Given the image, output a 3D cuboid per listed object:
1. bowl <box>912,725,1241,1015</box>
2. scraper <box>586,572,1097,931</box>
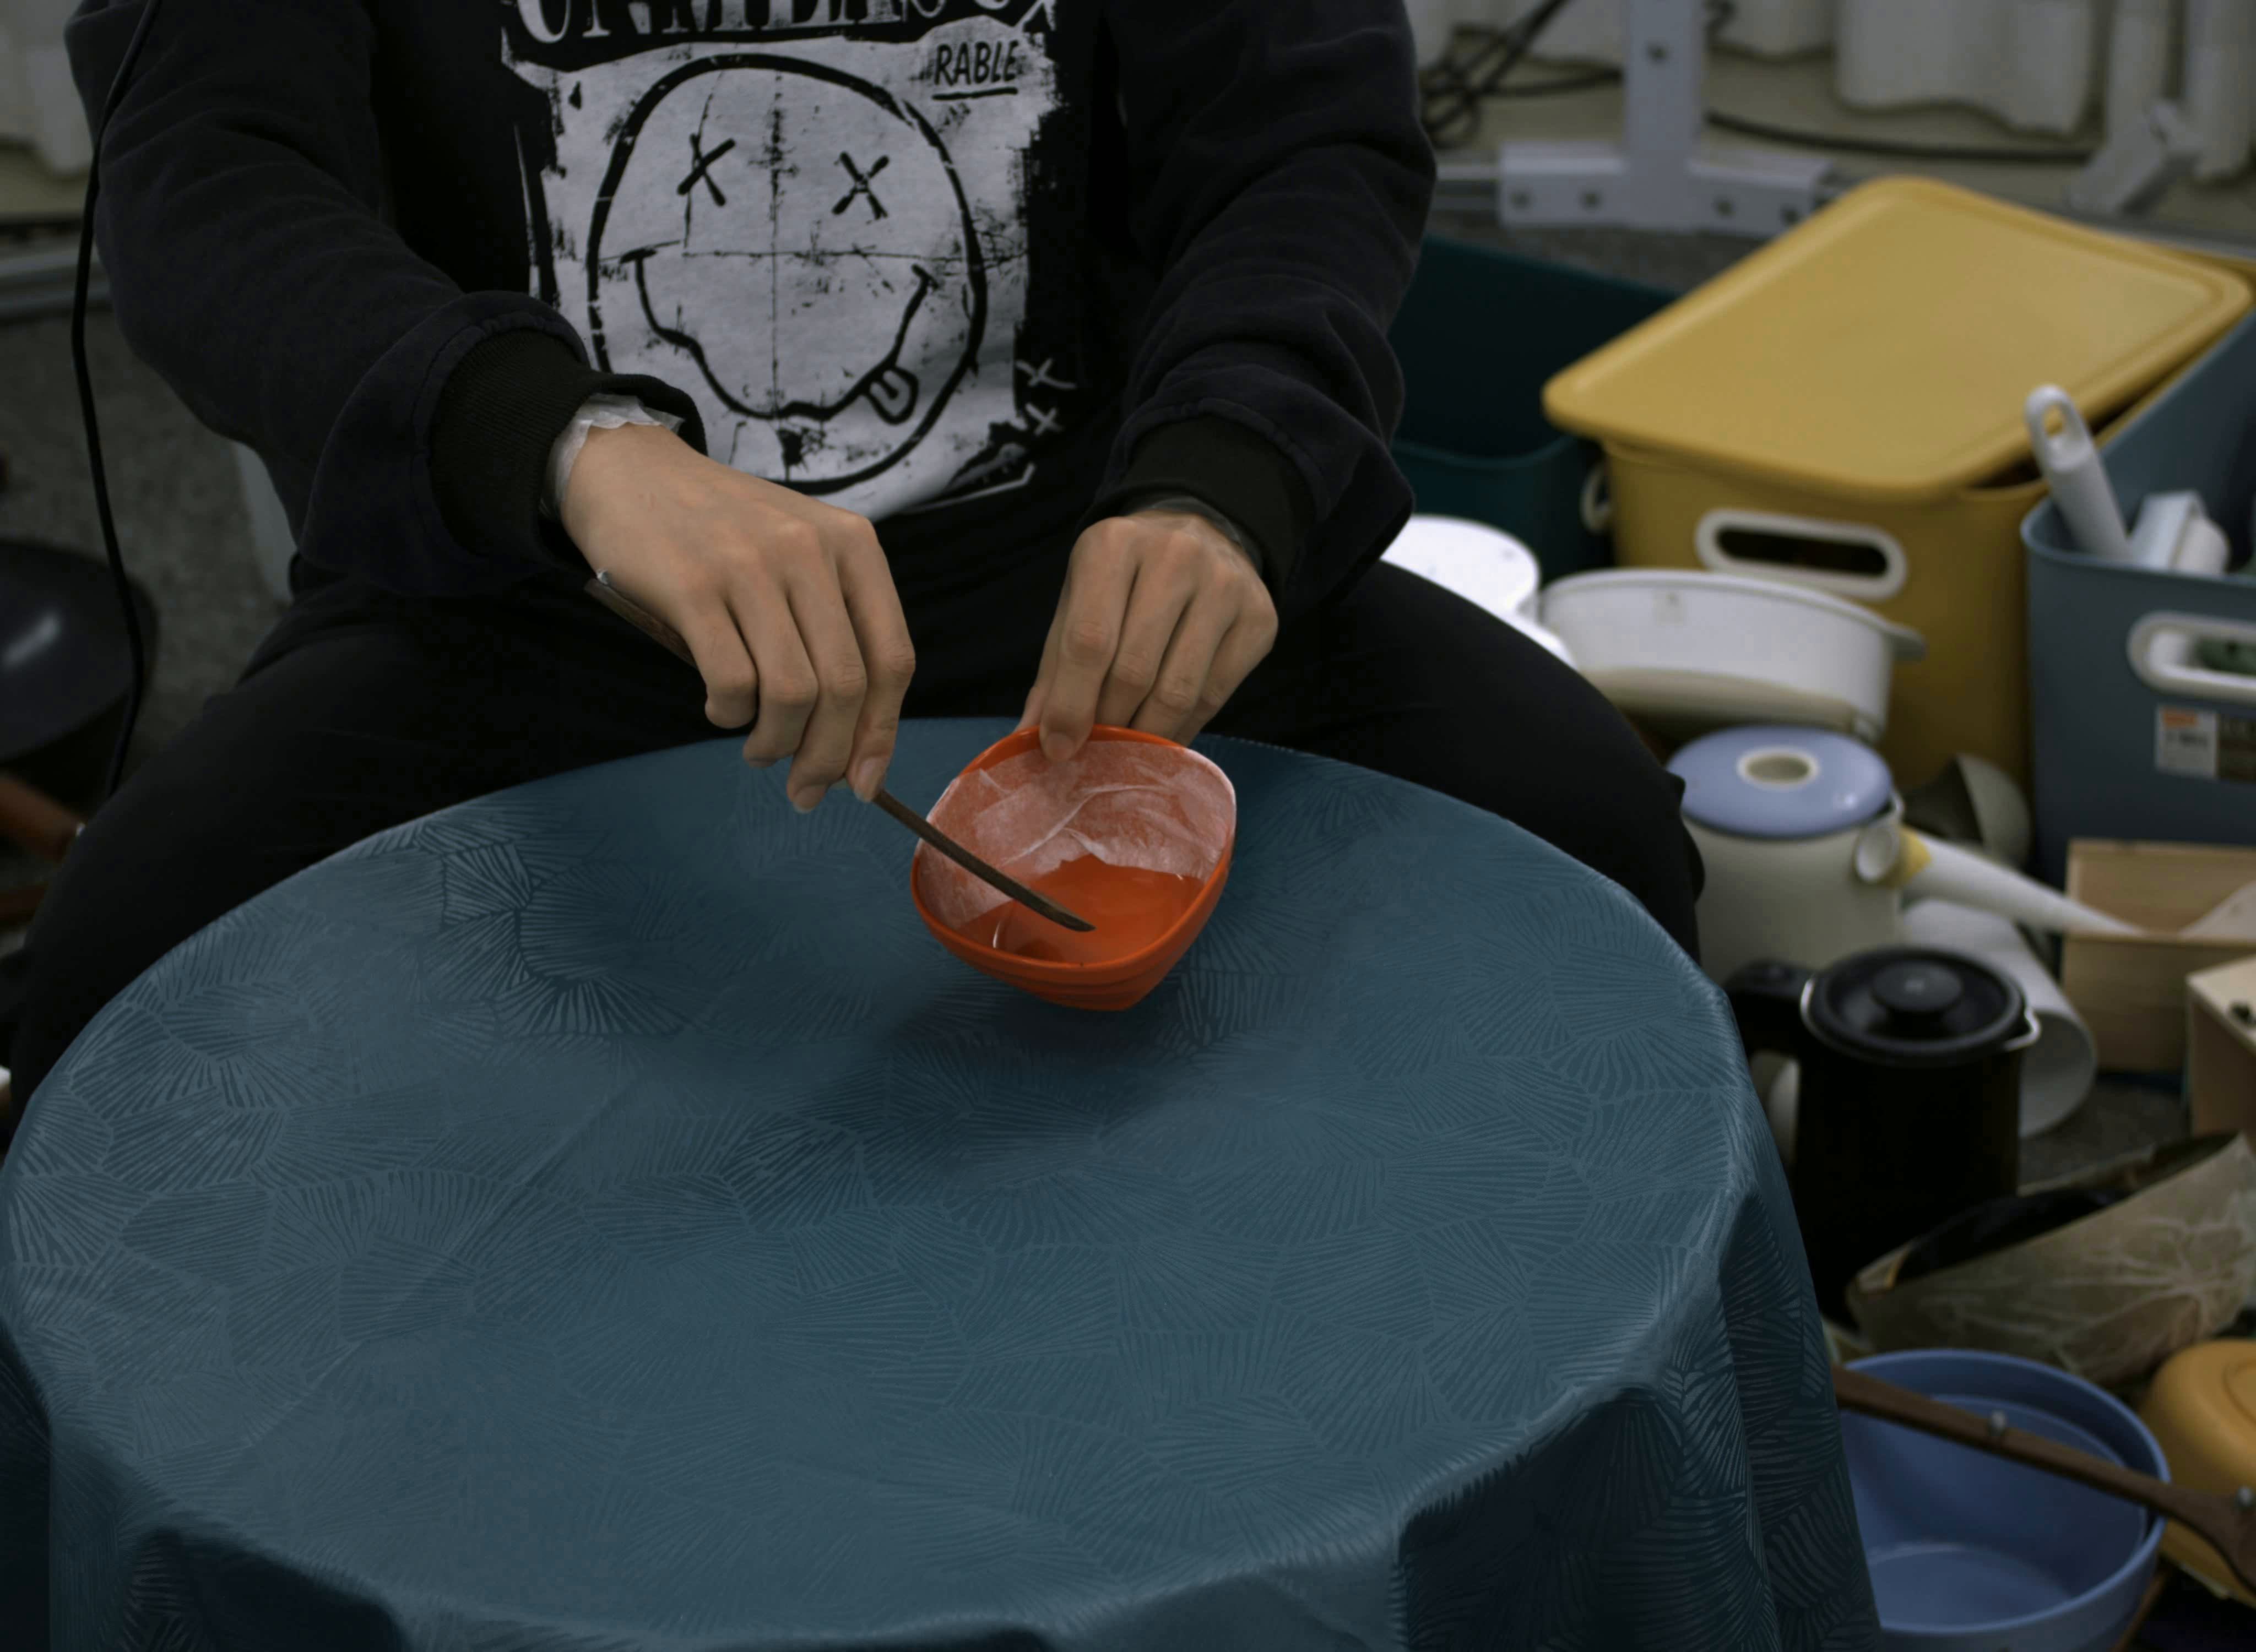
[{"bbox_3d":[-0.014,0.023,1.964,0.118,0.050,0.121,-5,48,6],"label":"bowl"},{"bbox_3d":[-0.099,-0.023,1.902,0.011,0.210,0.076,-55,21,-4],"label":"scraper"}]
